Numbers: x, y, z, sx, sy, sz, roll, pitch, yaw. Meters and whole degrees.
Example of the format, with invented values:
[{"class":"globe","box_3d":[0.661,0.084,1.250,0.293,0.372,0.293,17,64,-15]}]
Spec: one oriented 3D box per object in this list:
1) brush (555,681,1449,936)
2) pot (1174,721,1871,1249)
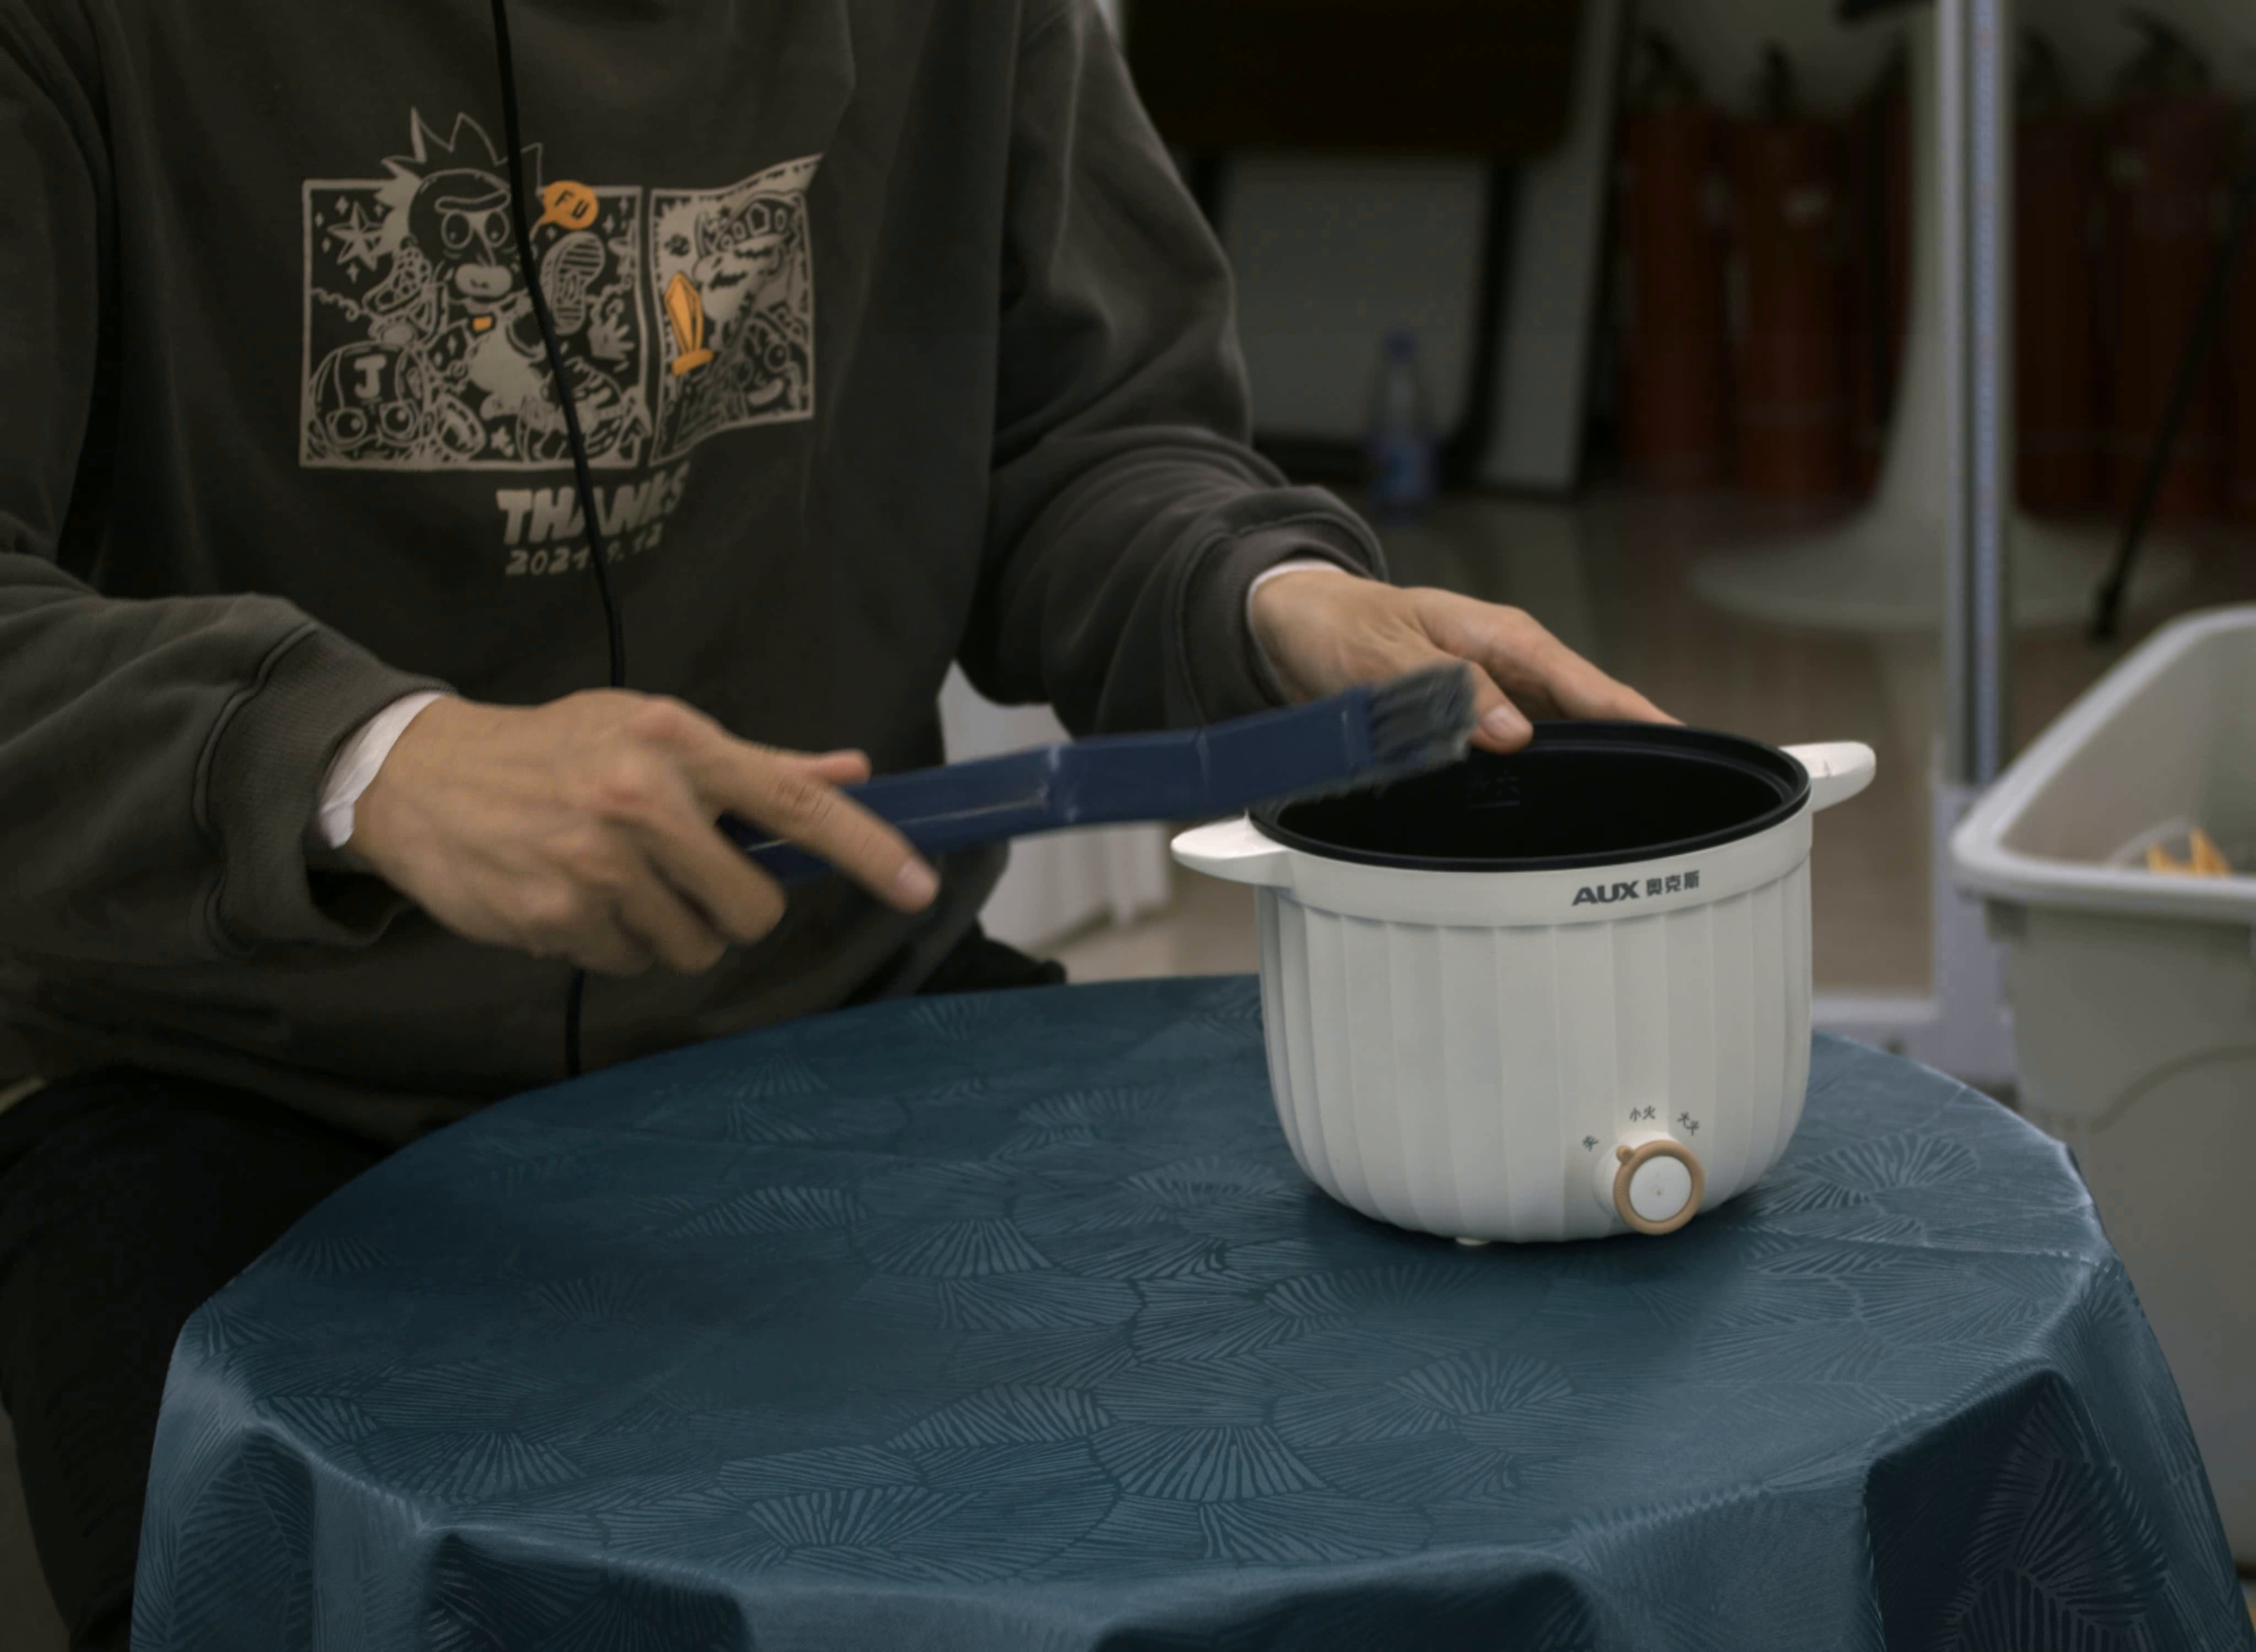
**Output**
[{"class":"brush","box_3d":[-0.041,-0.007,1.577,0.270,0.034,0.095,-9,-11,6]},{"class":"pot","box_3d":[0.134,0.052,1.725,0.236,0.144,0.192,-9,11,-16]}]
